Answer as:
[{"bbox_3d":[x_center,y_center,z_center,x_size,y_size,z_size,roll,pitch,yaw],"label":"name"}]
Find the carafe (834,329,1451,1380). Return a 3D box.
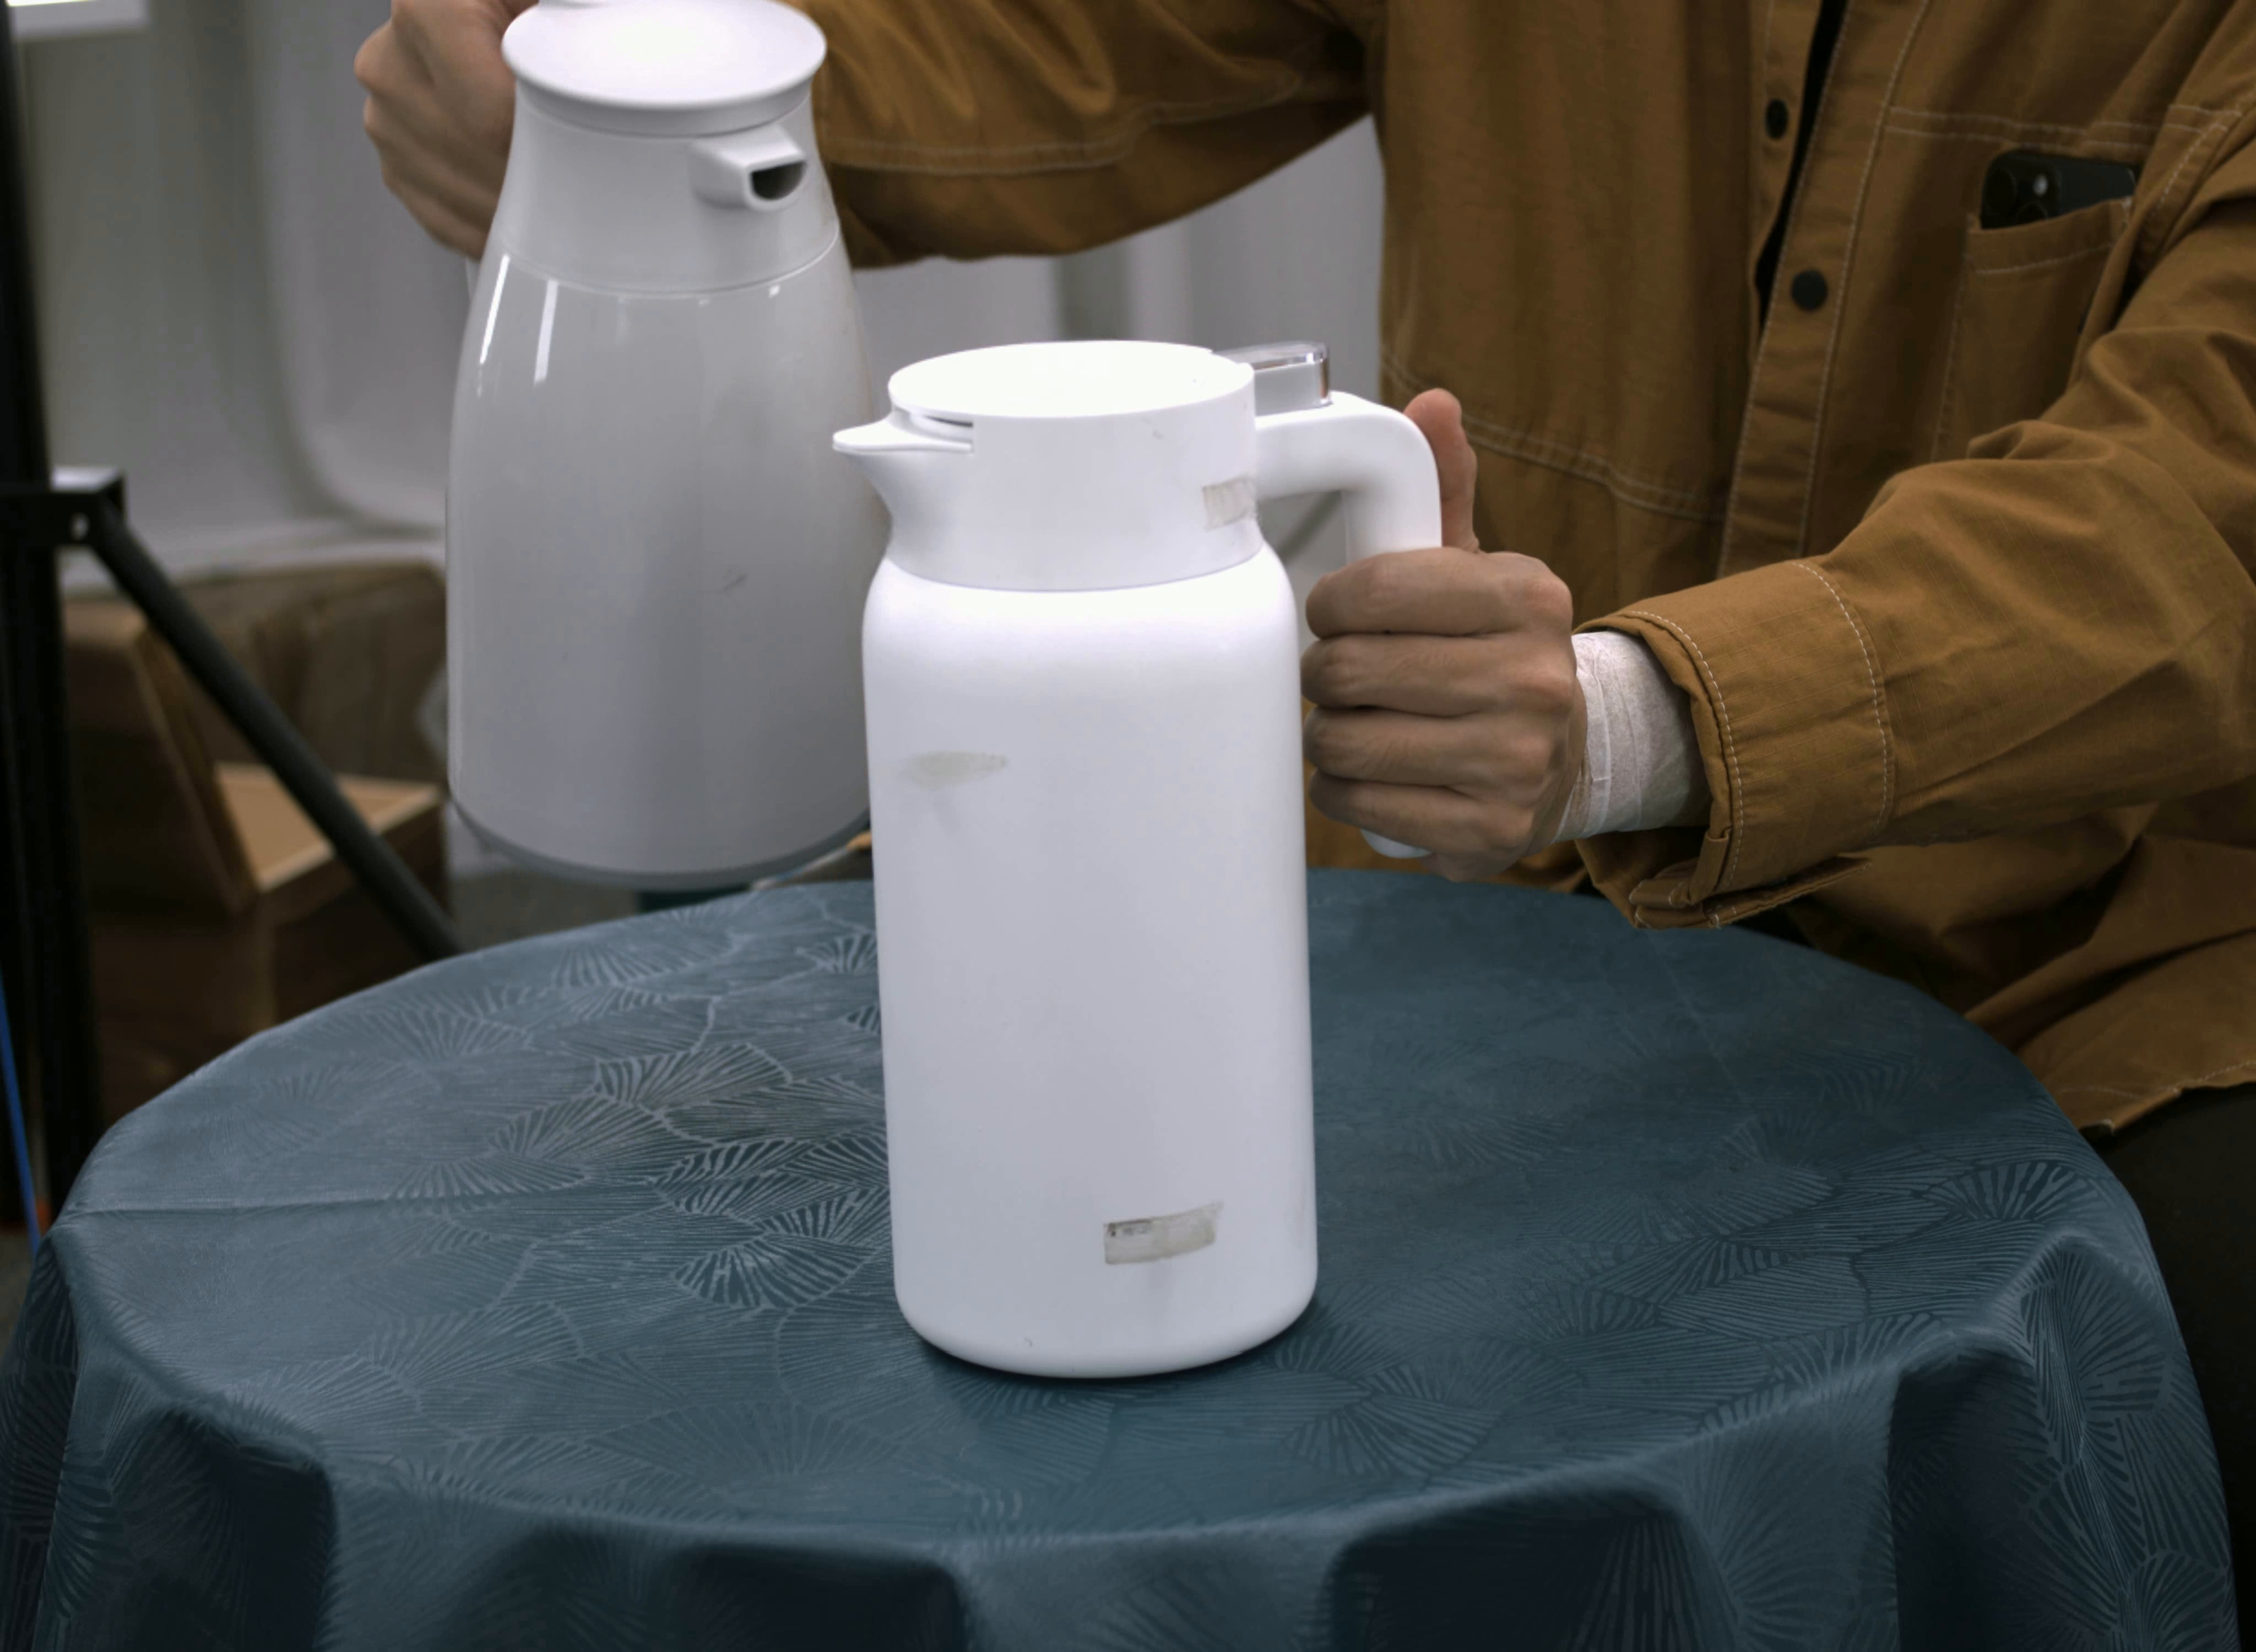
[{"bbox_3d":[0.006,0.004,1.434,0.169,0.269,0.126,-9,14,-24],"label":"carafe"}]

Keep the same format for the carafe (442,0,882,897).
[{"bbox_3d":[-0.147,-0.126,1.574,0.130,0.248,0.171,-15,32,-30],"label":"carafe"}]
